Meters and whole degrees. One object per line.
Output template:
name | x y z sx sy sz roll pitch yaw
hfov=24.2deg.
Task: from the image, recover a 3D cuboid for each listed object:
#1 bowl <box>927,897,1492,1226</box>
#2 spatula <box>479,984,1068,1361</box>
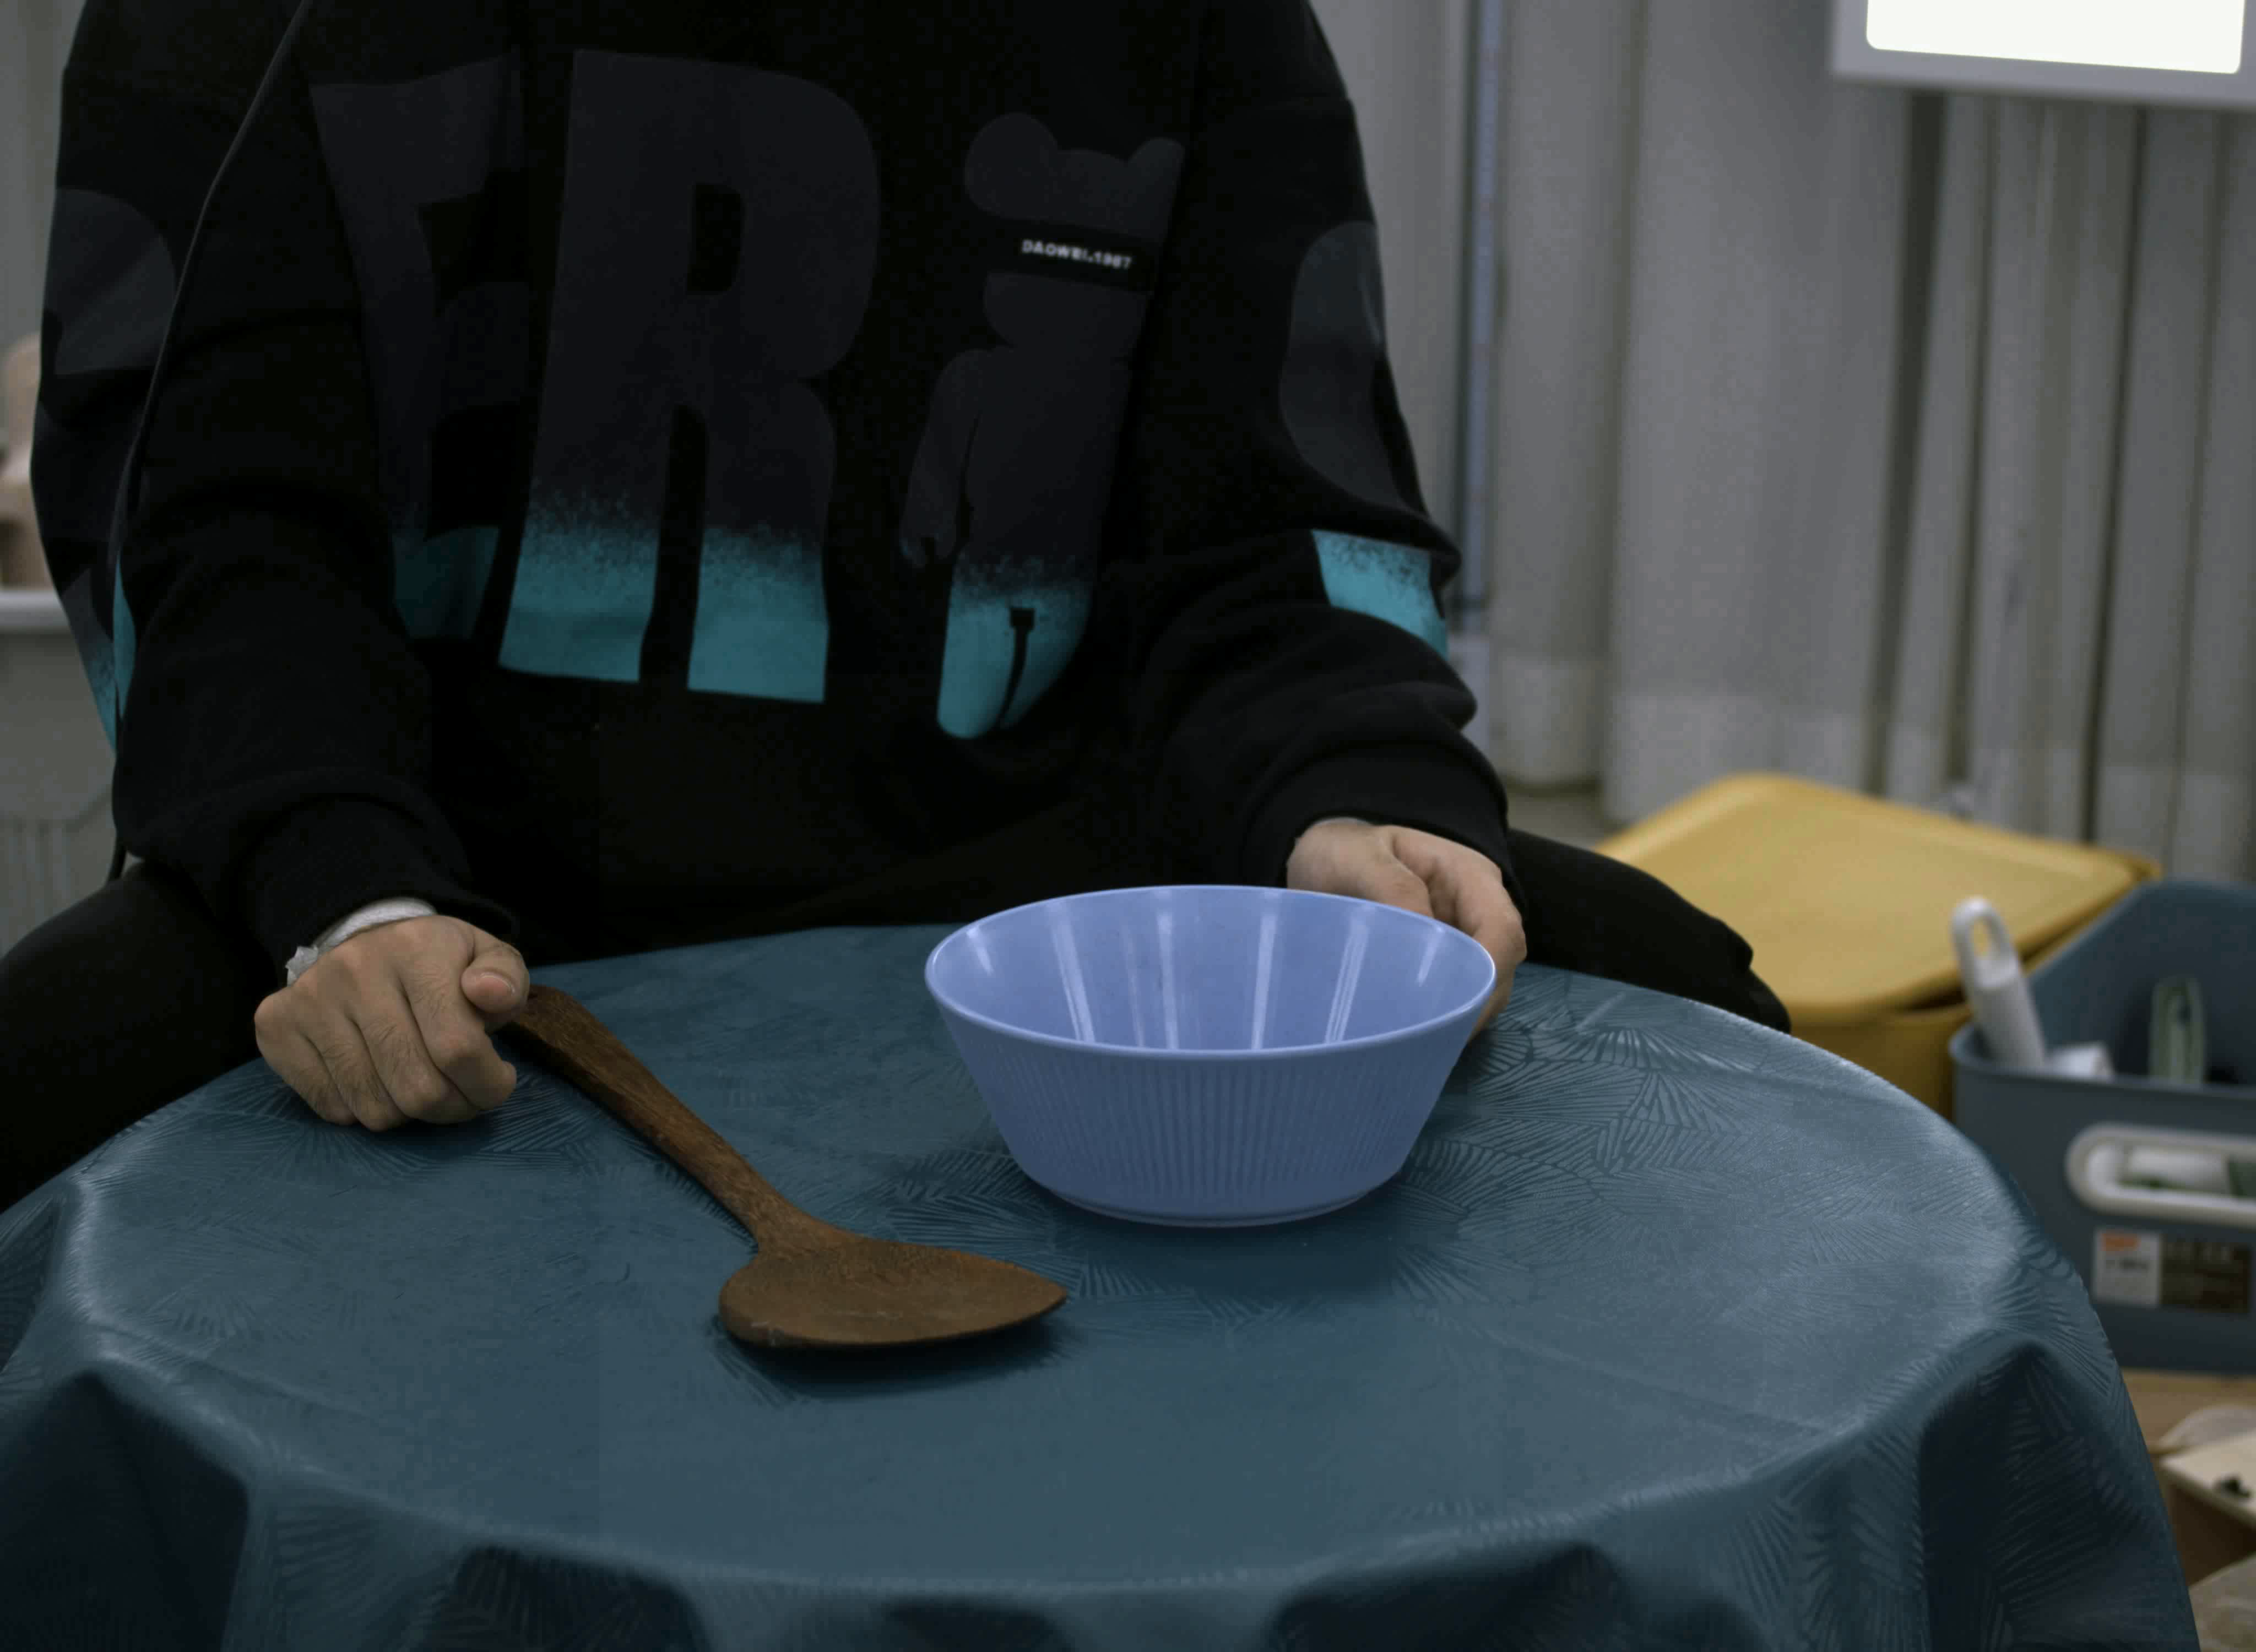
bowl | 0.025 0.075 1.633 0.175 0.071 0.175 1 15 0
spatula | -0.133 0.101 1.636 0.096 0.016 0.381 -6 17 -24
